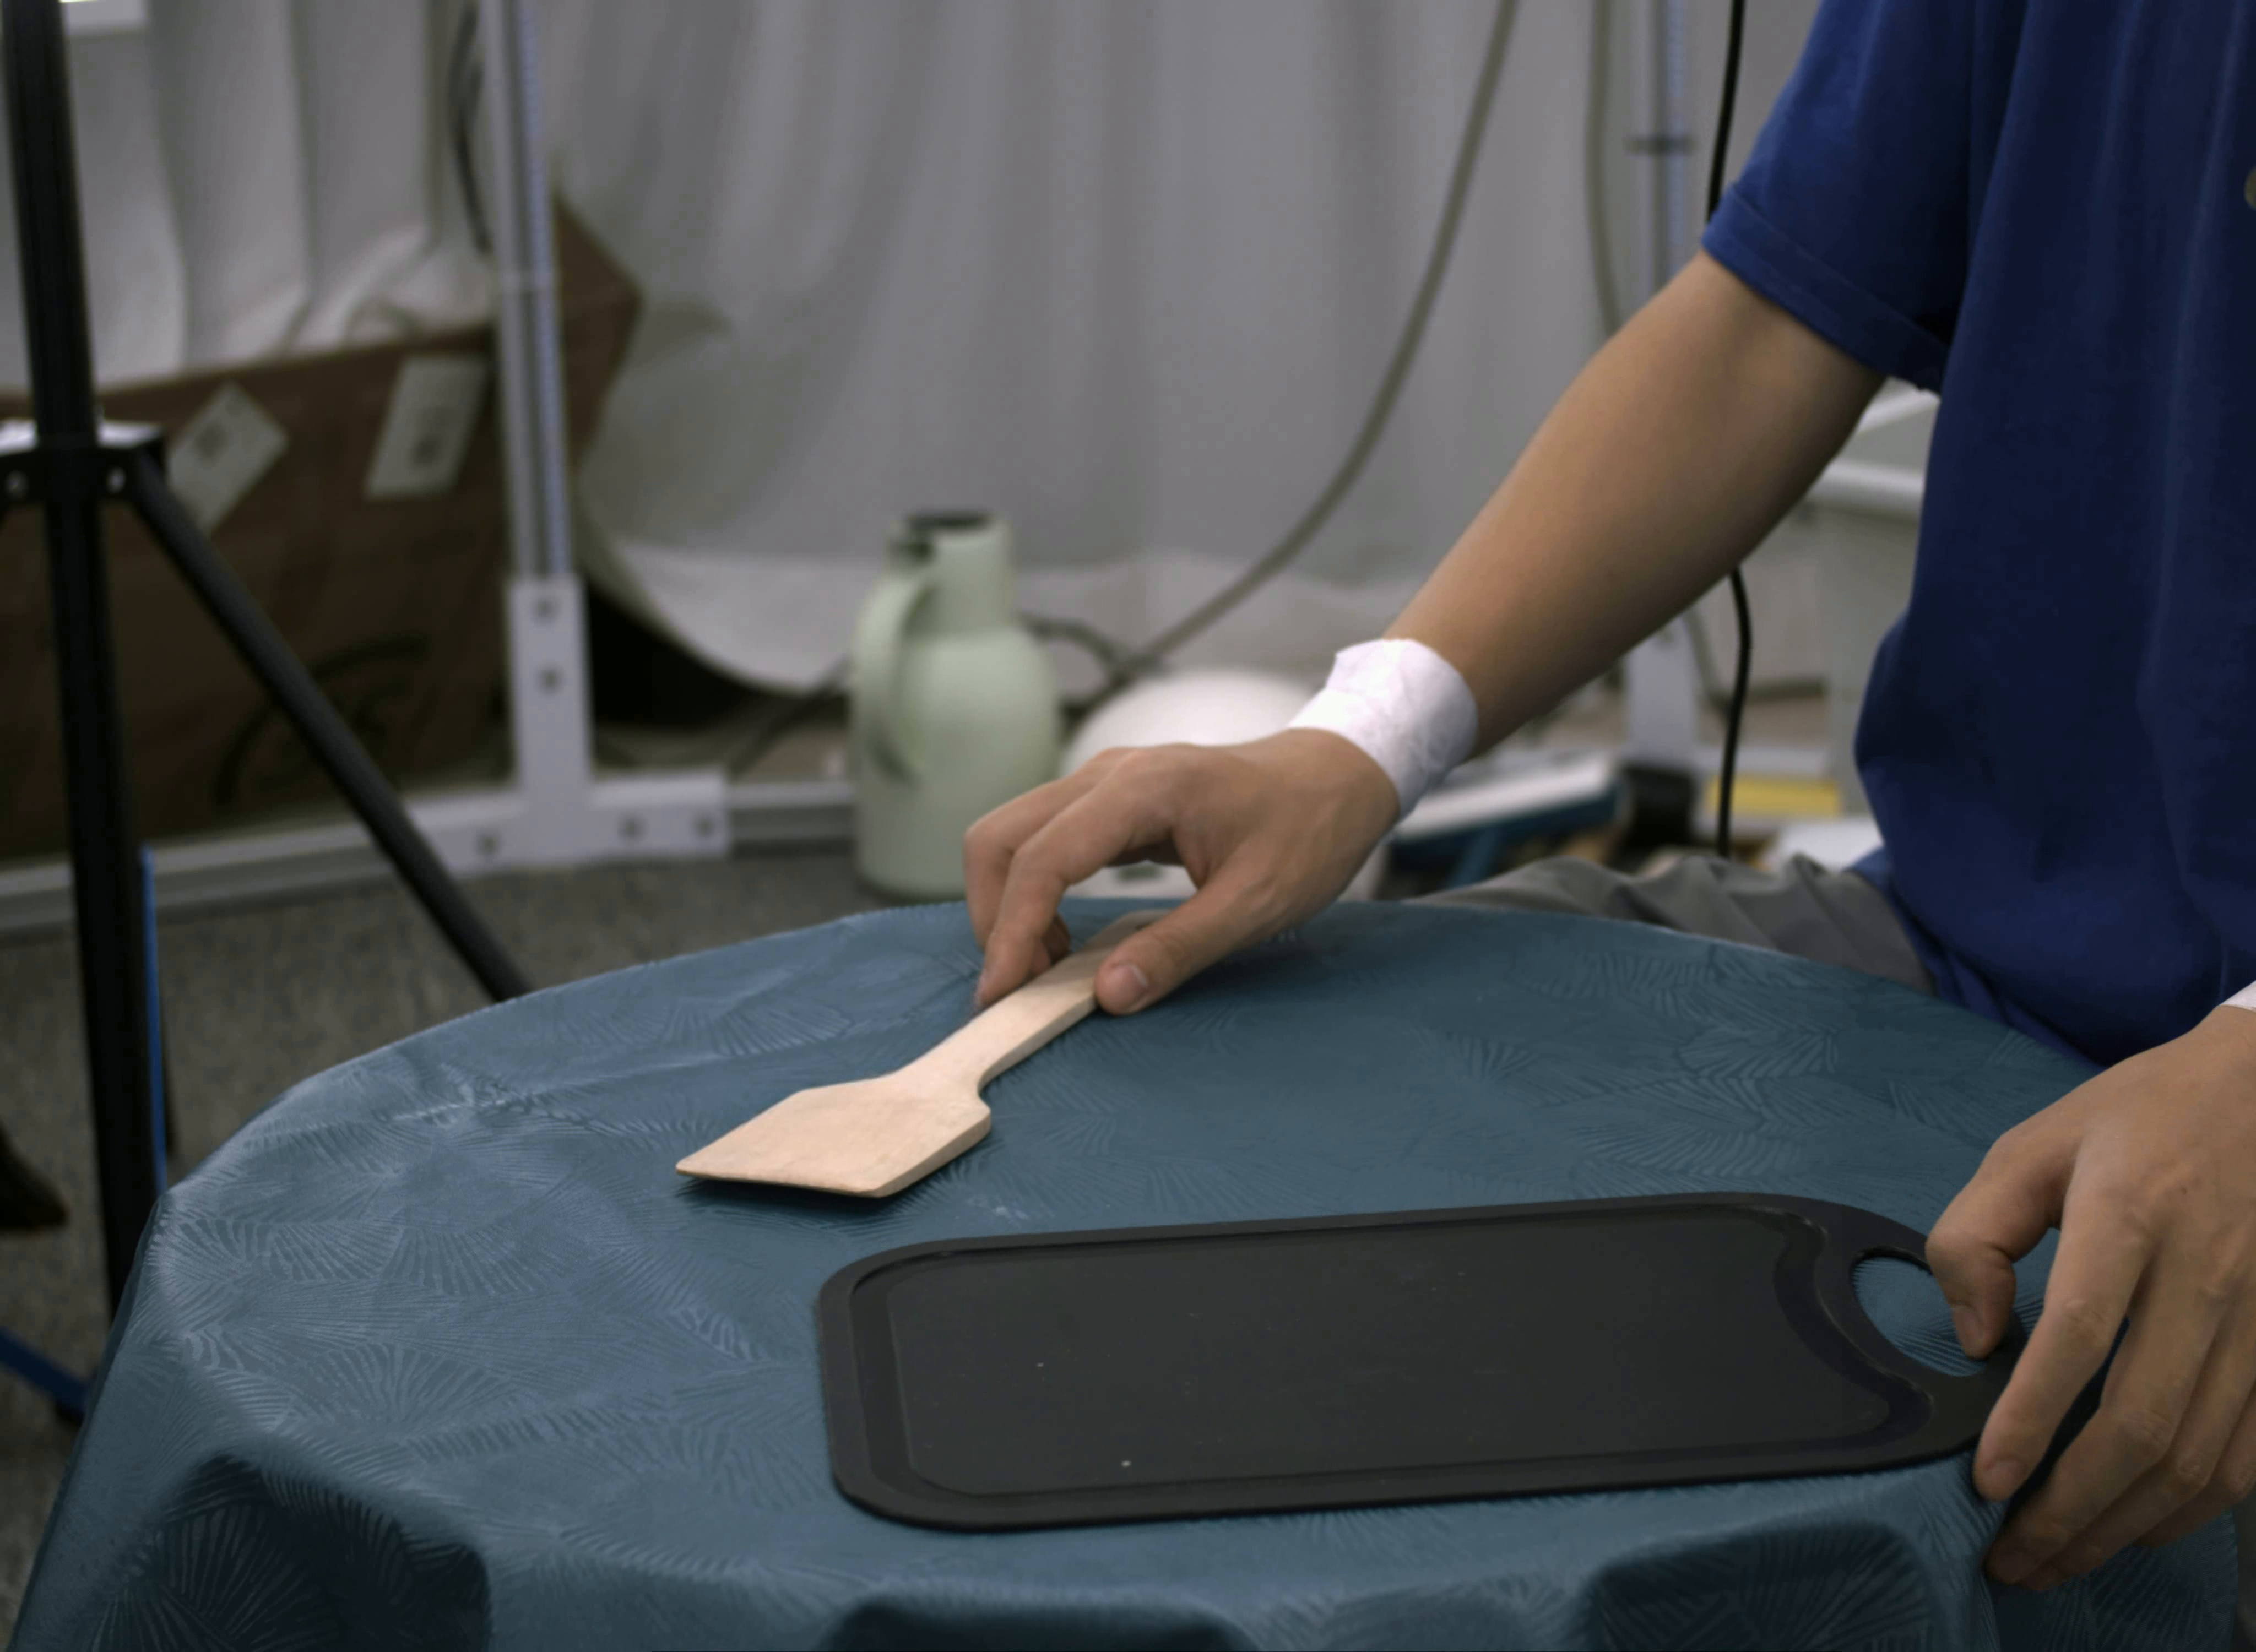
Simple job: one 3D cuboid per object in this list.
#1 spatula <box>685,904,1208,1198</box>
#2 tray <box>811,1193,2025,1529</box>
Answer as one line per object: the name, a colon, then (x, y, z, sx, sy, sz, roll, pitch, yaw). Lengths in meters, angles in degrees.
spatula: (-0.043, 0.068, 1.688, 0.073, 0.010, 0.288, 4, 17, 25)
tray: (0.078, 0.139, 1.423, 0.323, 0.010, 0.212, -3, 16, -2)
